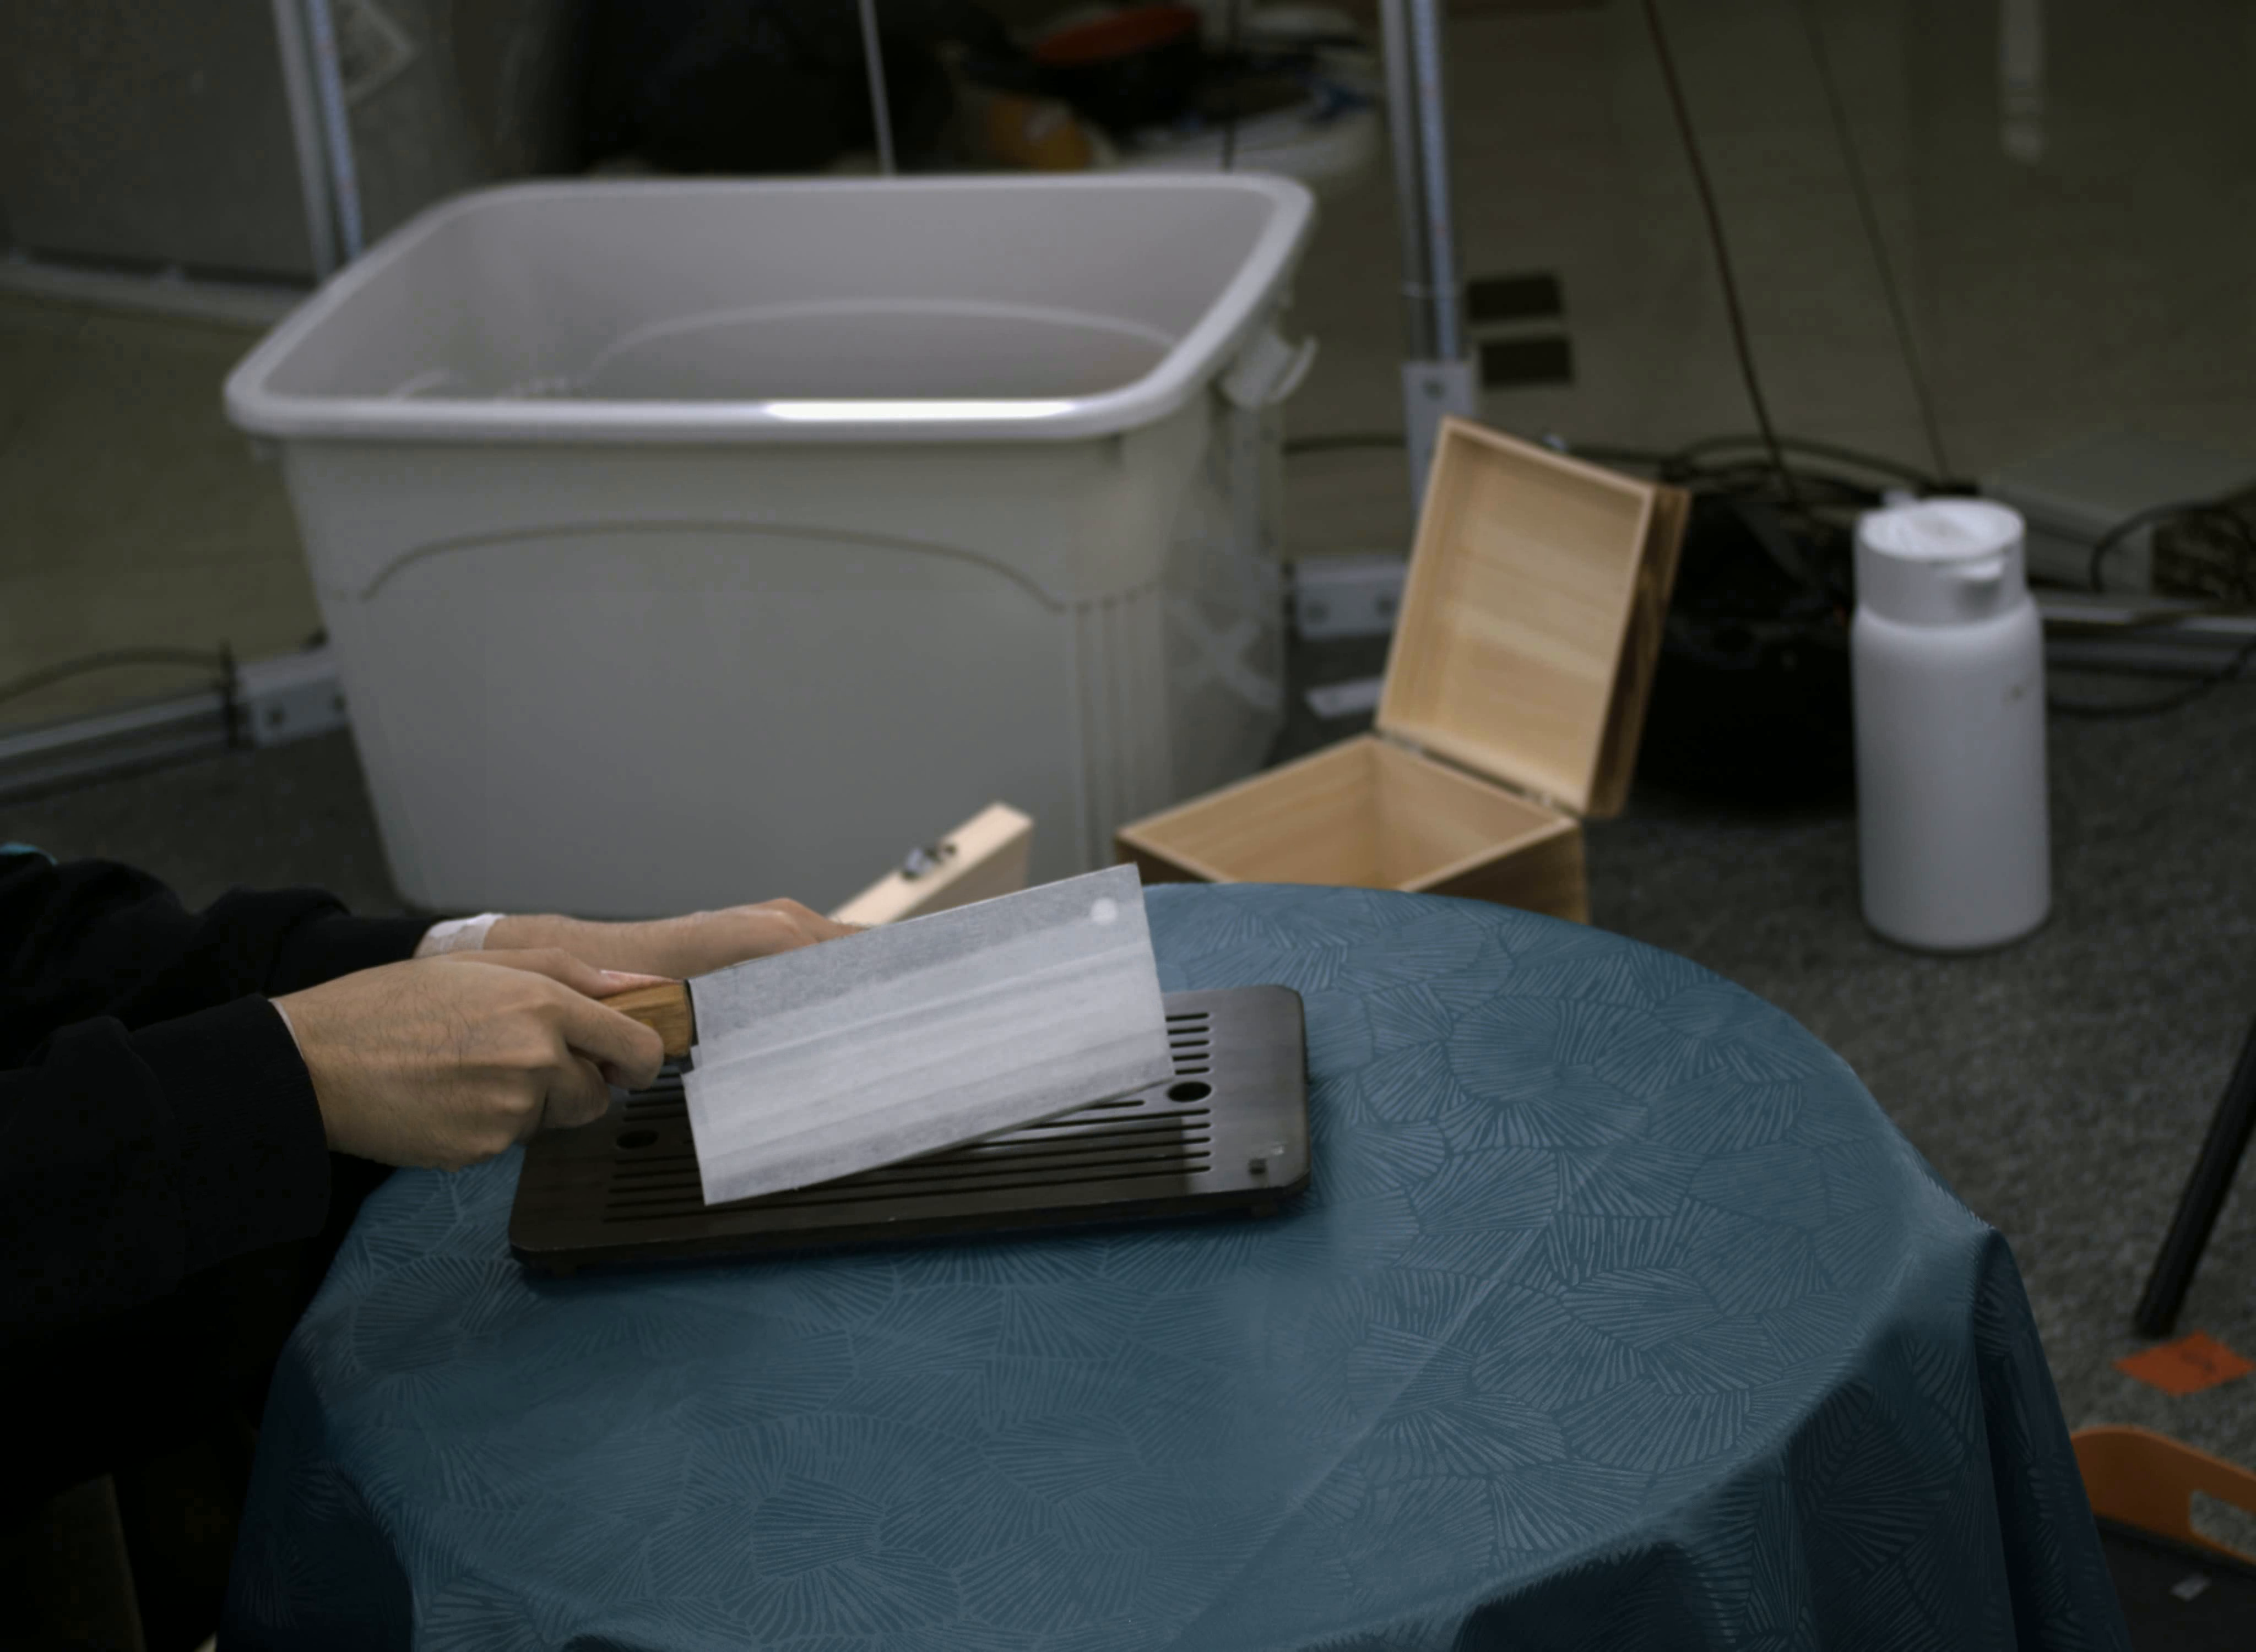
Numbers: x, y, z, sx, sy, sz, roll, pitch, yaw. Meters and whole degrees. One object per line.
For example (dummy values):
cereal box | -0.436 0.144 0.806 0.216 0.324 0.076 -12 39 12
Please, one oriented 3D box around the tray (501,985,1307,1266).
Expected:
tray | -0.083 0.116 2.192 0.305 0.019 0.167 -5 25 3

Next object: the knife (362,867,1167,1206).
knife | -0.131 0.091 2.124 0.305 0.094 0.021 -14 17 -14
